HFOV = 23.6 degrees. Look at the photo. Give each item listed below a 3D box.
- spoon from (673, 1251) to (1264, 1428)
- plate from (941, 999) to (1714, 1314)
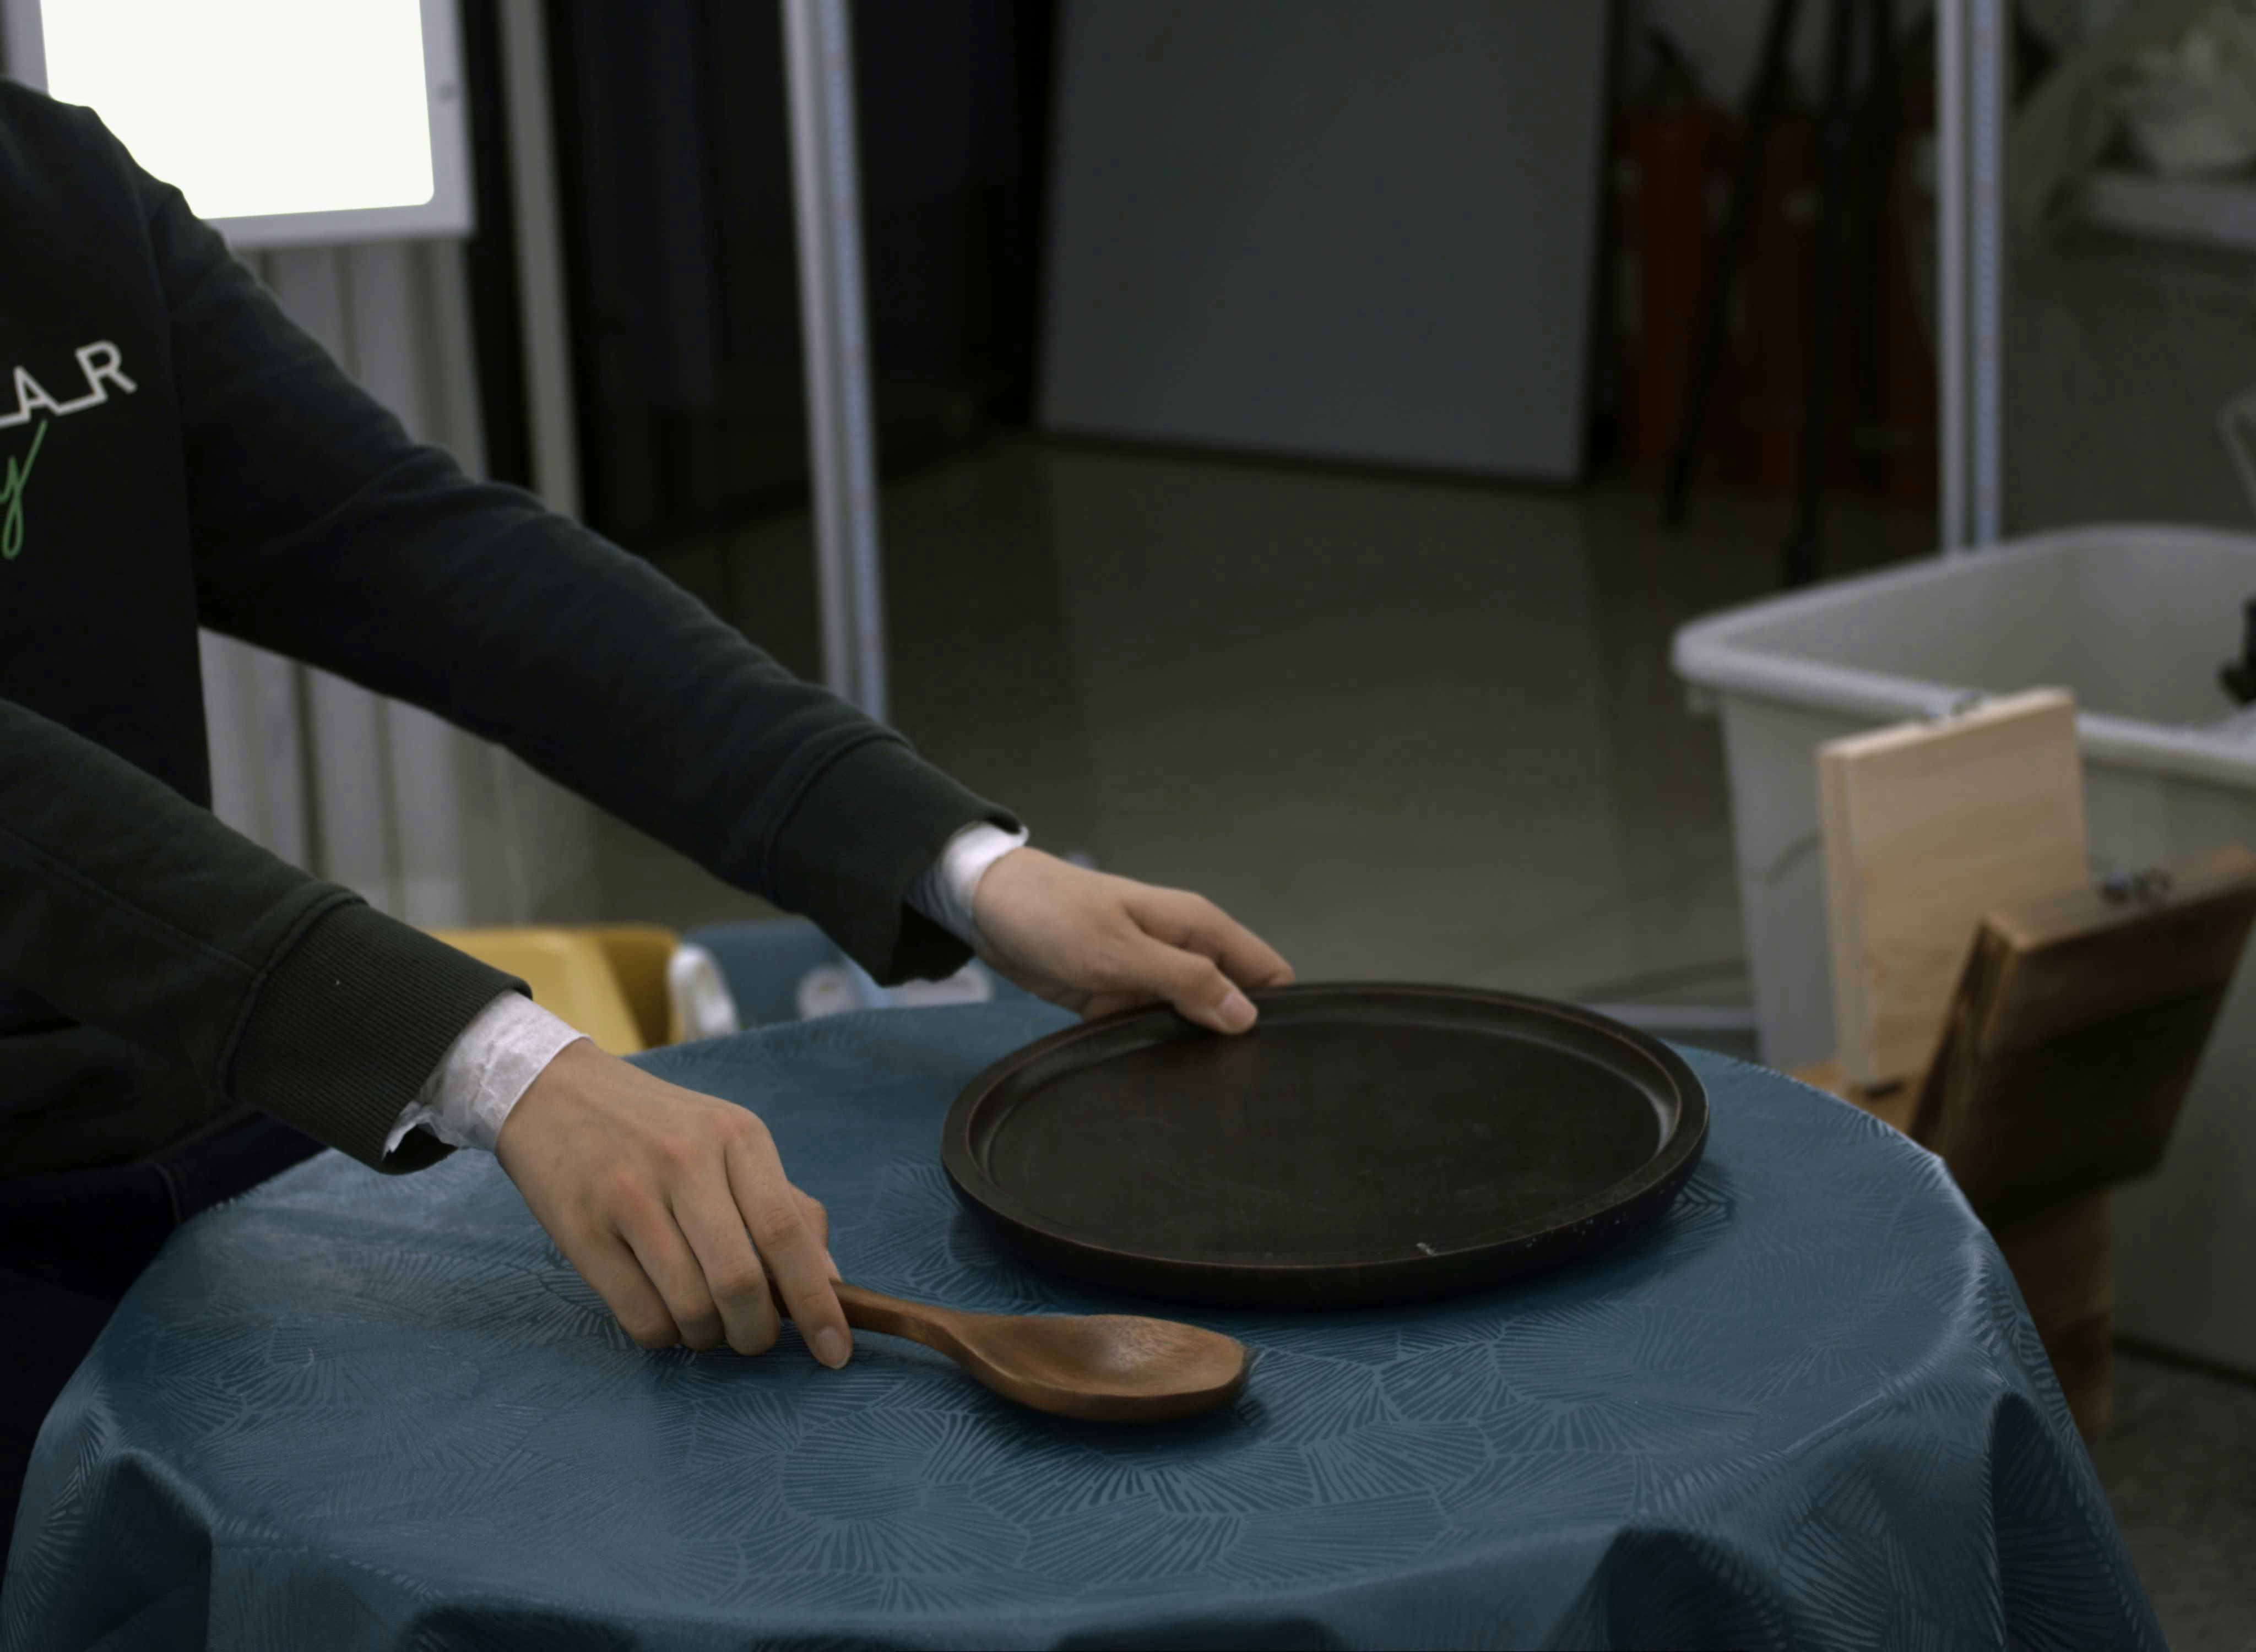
[{"bbox_3d":[-0.052,0.153,1.613,0.217,0.017,0.074,9,17,38],"label":"spoon"},{"bbox_3d":[0.065,0.104,1.747,0.251,0.029,0.255,-3,18,0],"label":"plate"}]
